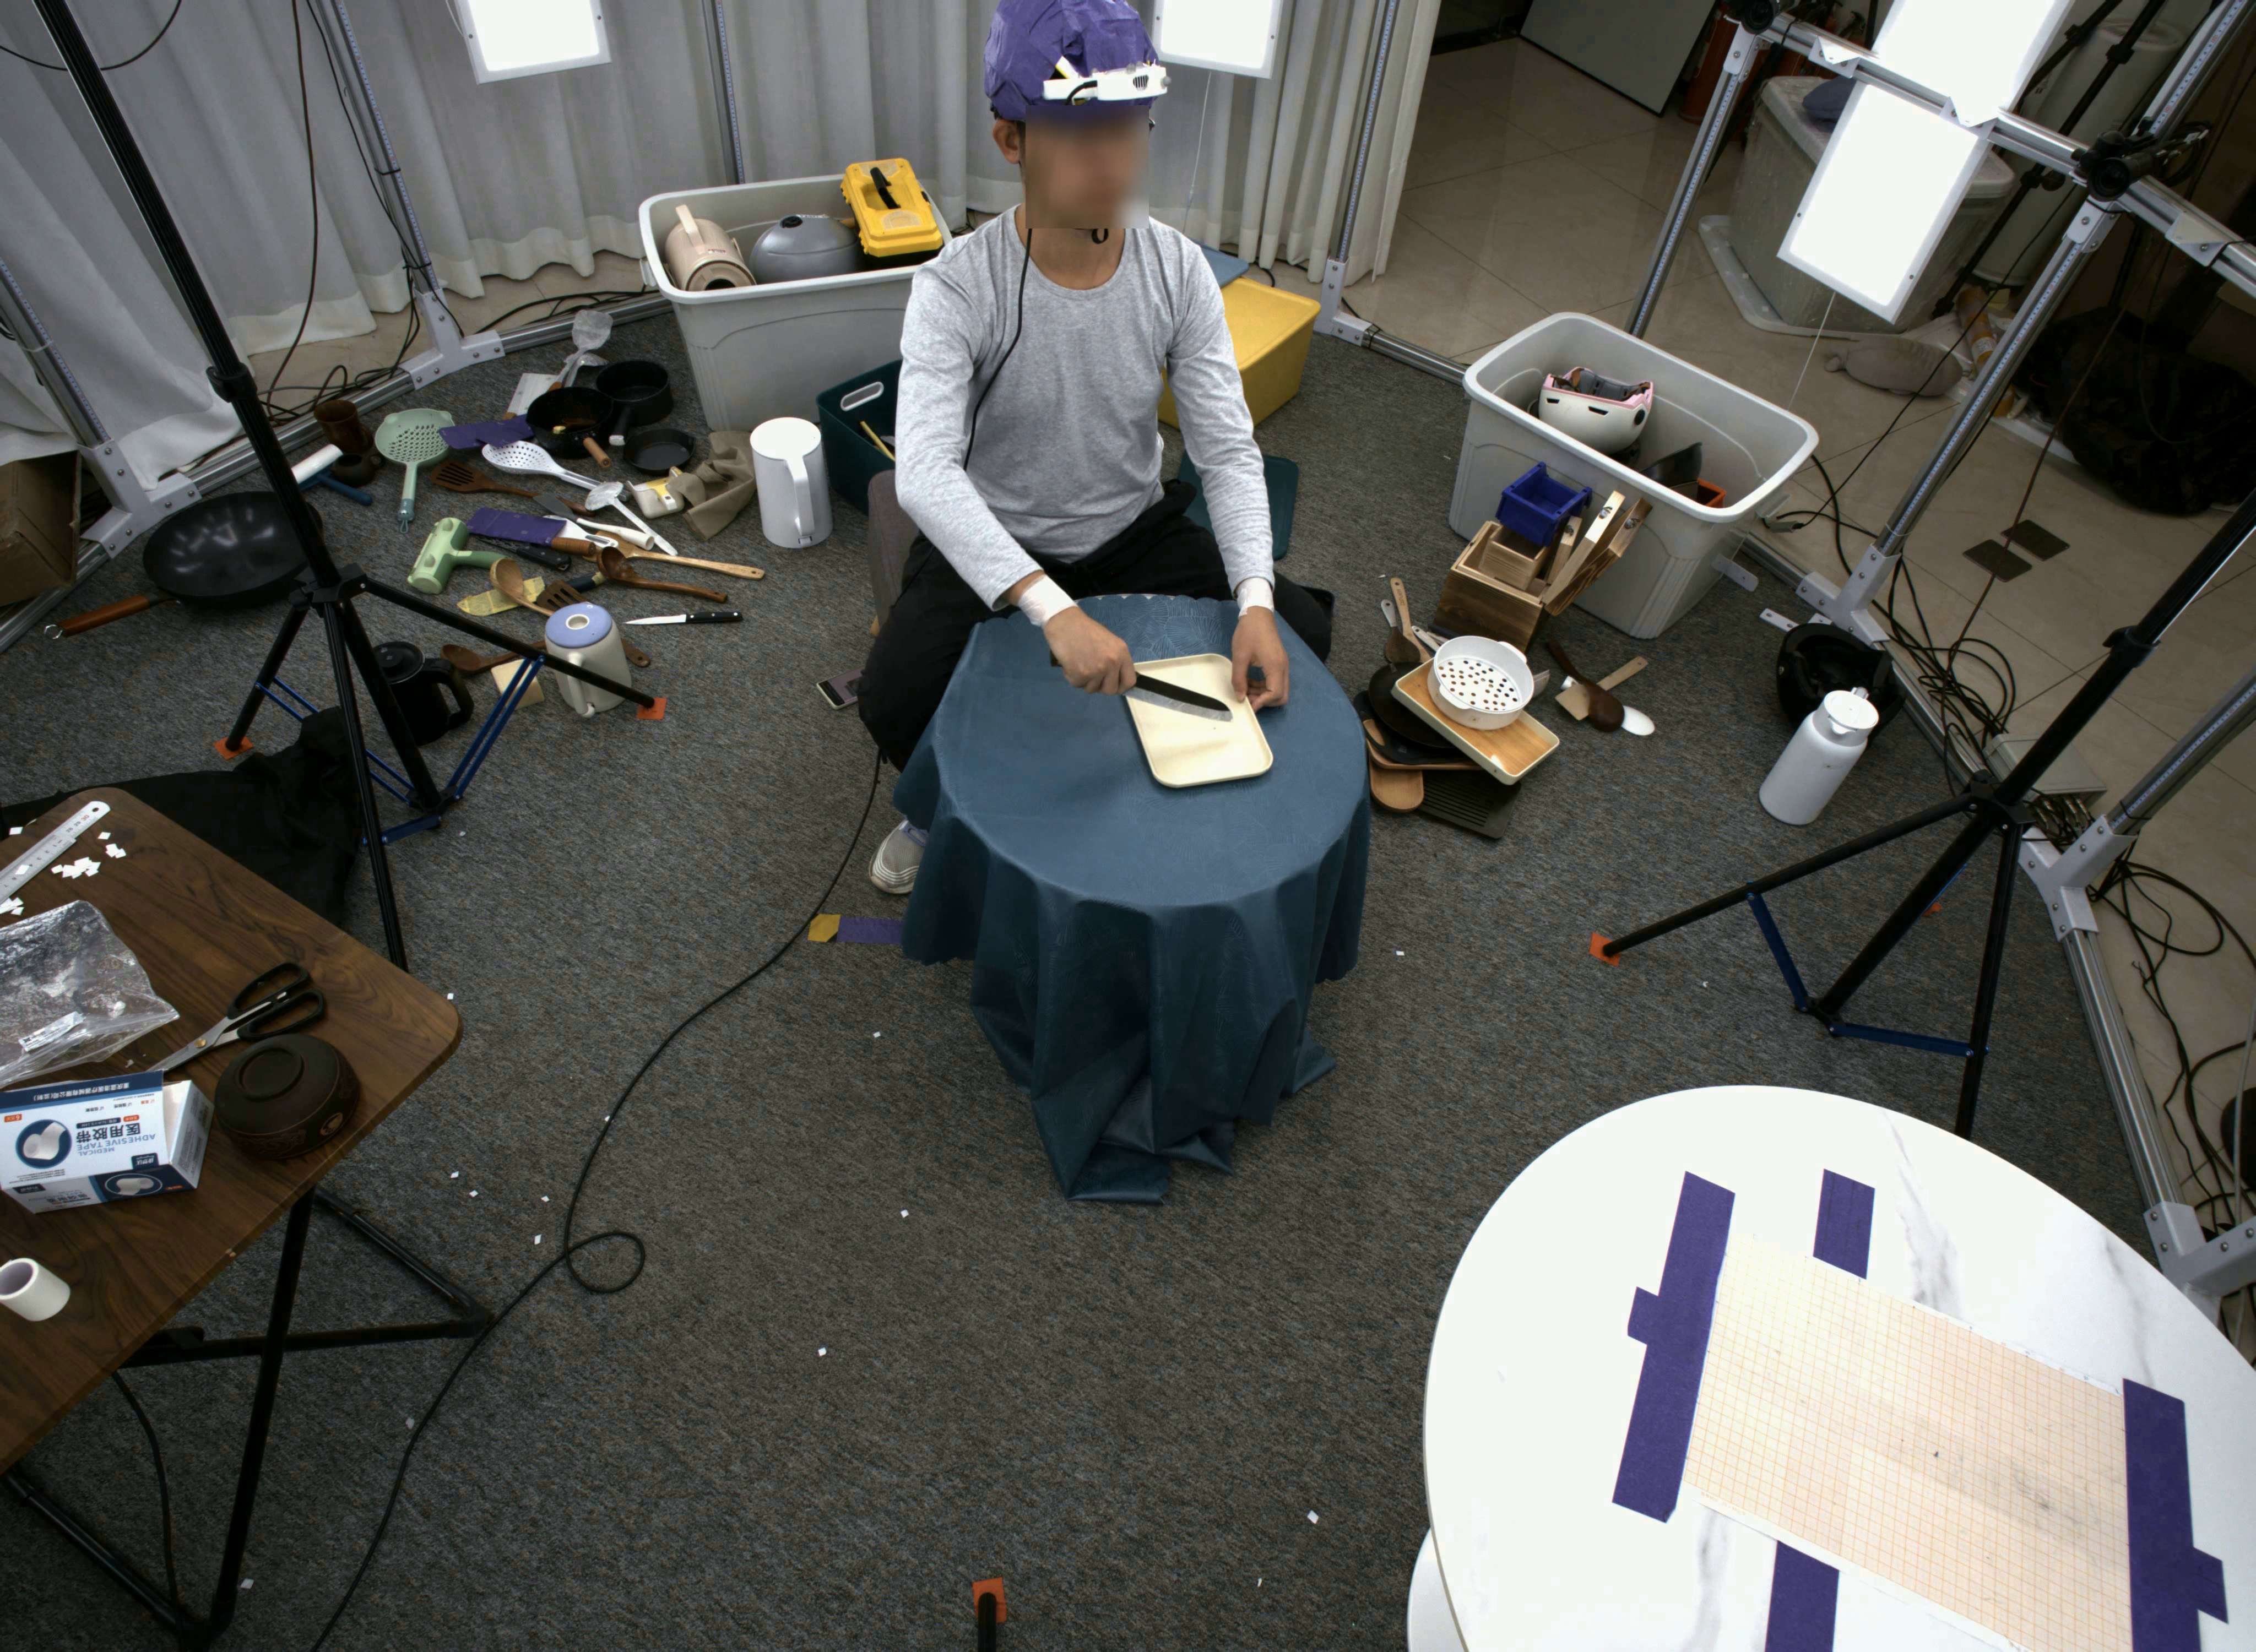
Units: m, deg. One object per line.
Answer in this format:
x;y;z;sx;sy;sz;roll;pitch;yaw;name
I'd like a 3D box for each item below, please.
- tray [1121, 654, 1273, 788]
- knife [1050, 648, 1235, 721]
0.093;-0.148;1.791;0.171;0.017;0.246;-8;50;-11;tray
0.023;-0.185;1.709;0.286;0.049;0.020;16;49;-24;knife
